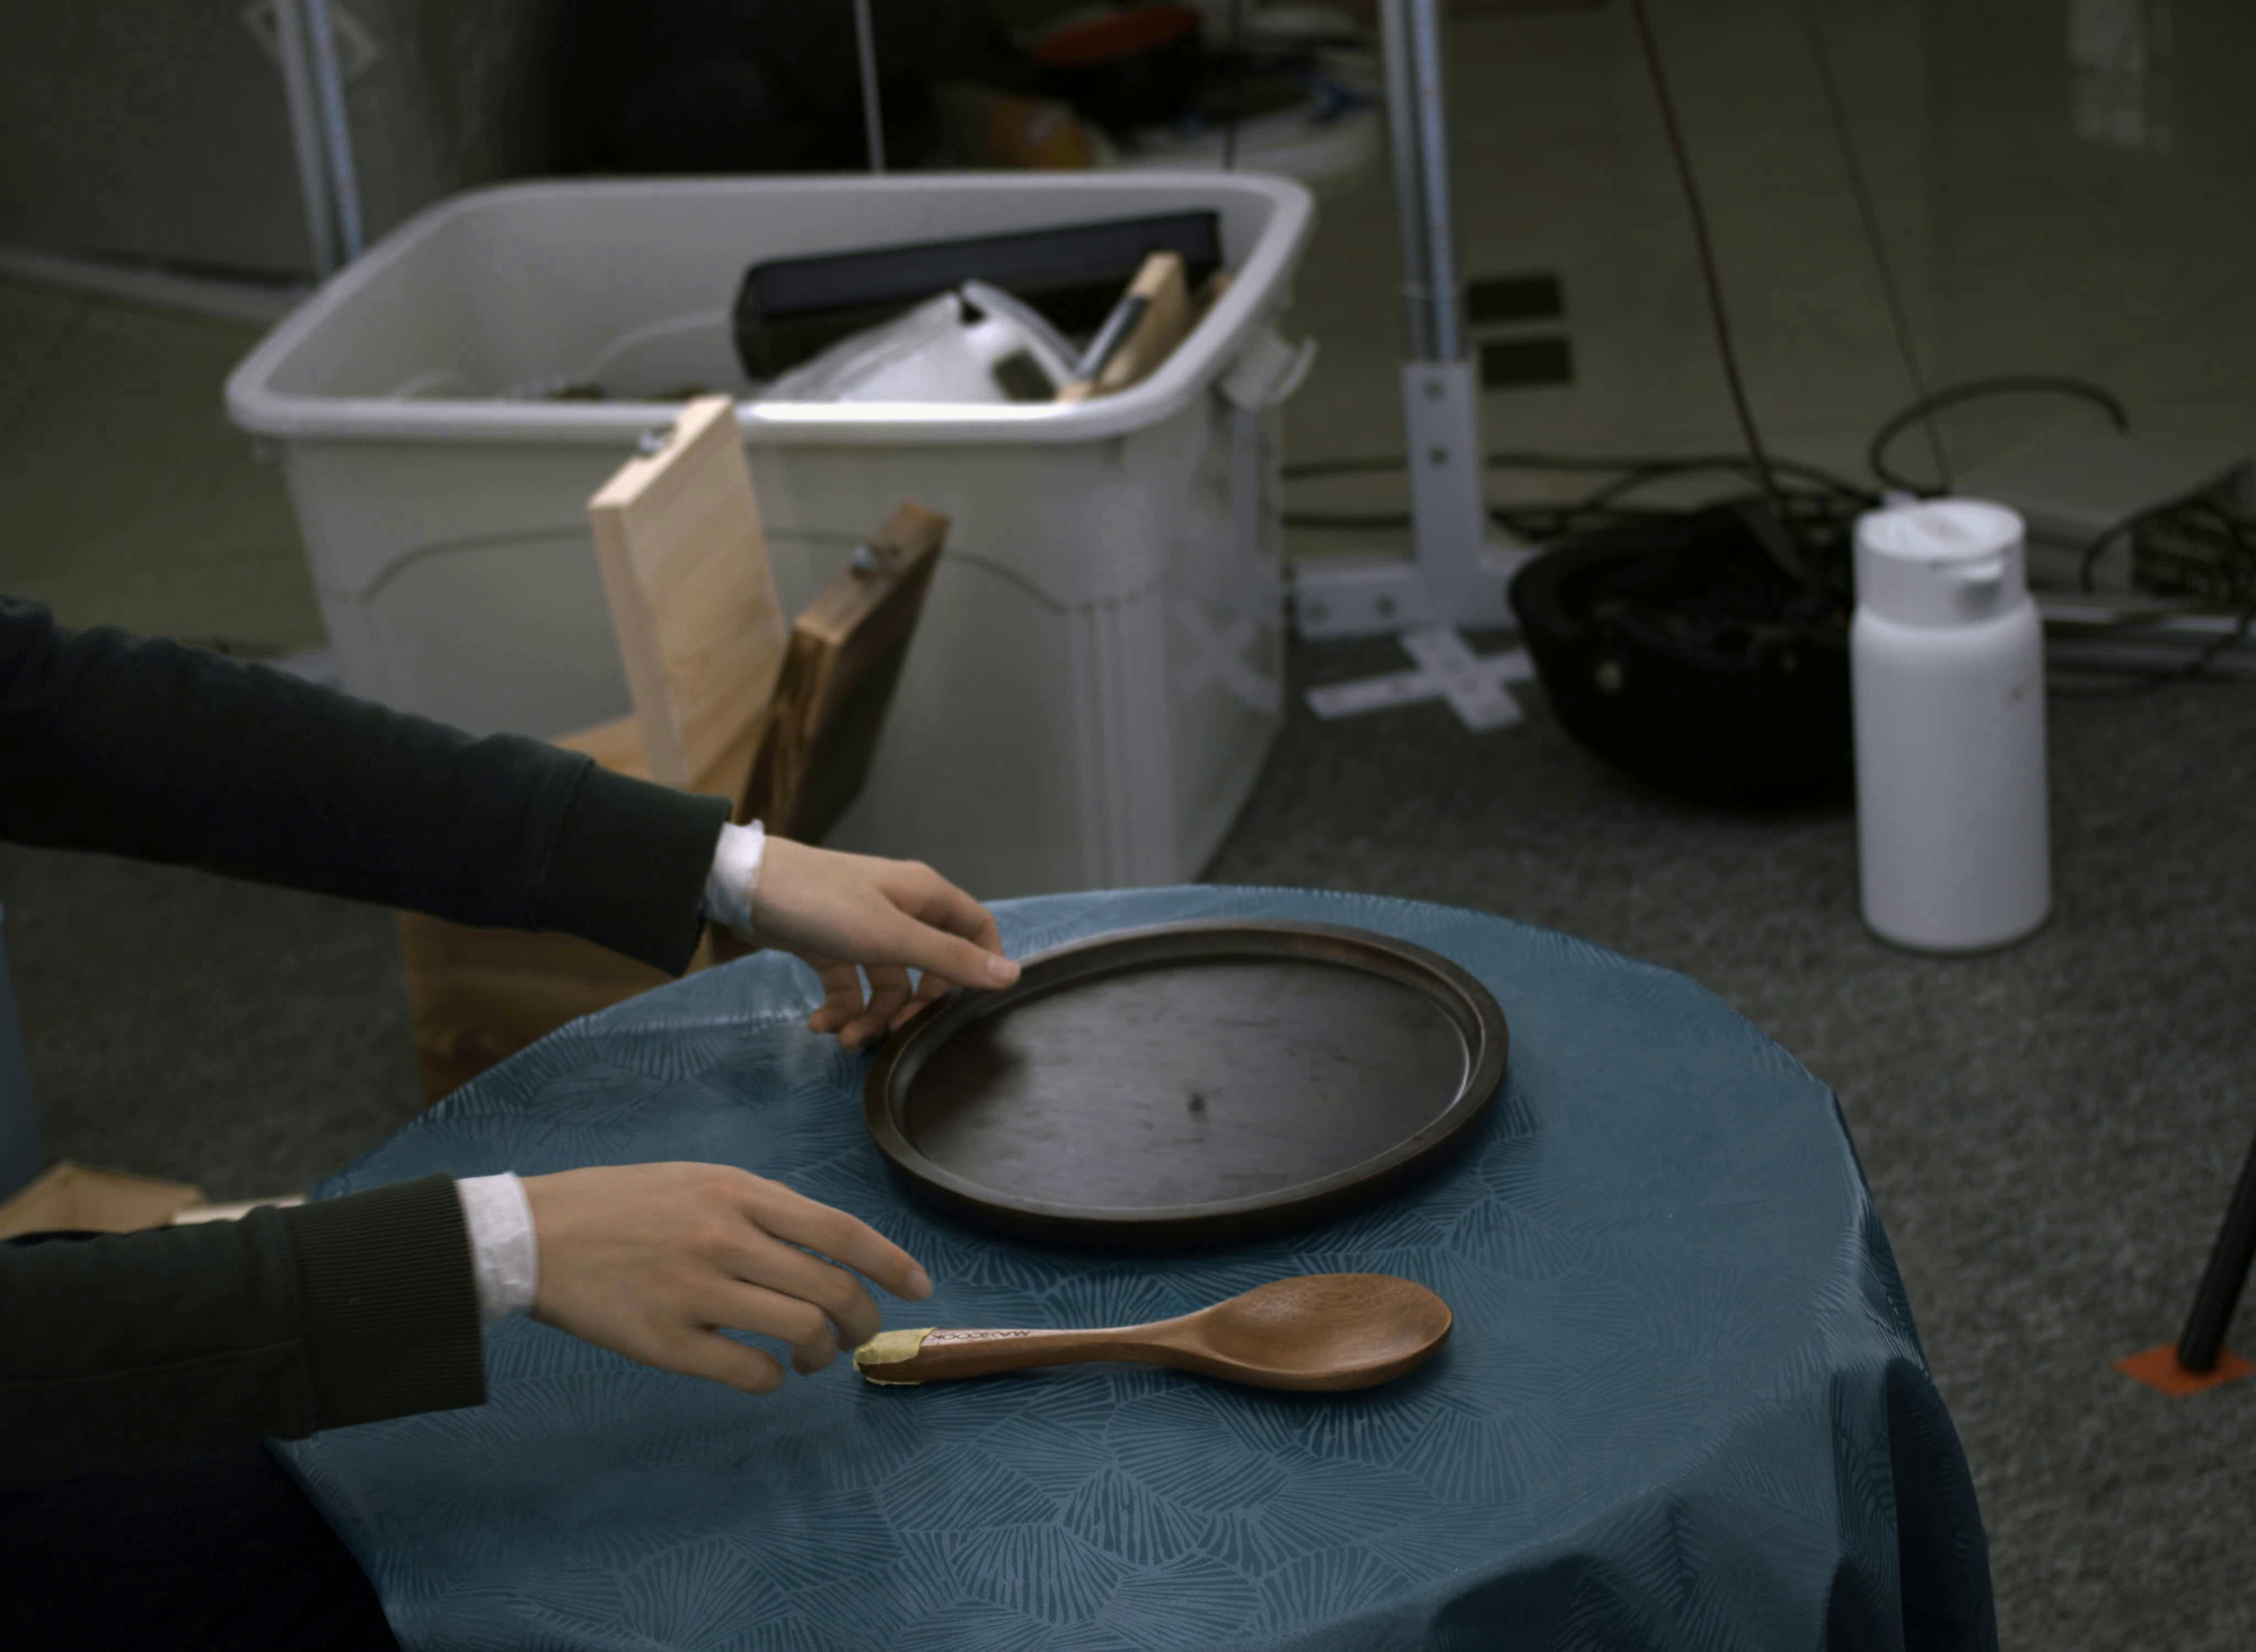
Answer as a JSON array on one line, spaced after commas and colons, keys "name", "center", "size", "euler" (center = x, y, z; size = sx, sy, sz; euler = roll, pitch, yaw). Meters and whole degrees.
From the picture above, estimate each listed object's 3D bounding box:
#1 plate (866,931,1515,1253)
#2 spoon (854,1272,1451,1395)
[{"name": "plate", "center": [0.024, 0.101, 2.202], "size": [0.254, 0.029, 0.251], "euler": [-4, 24, 2]}, {"name": "spoon", "center": [0.008, 0.186, 2.030], "size": [0.215, 0.017, 0.074], "euler": [-3, 25, 8]}]
